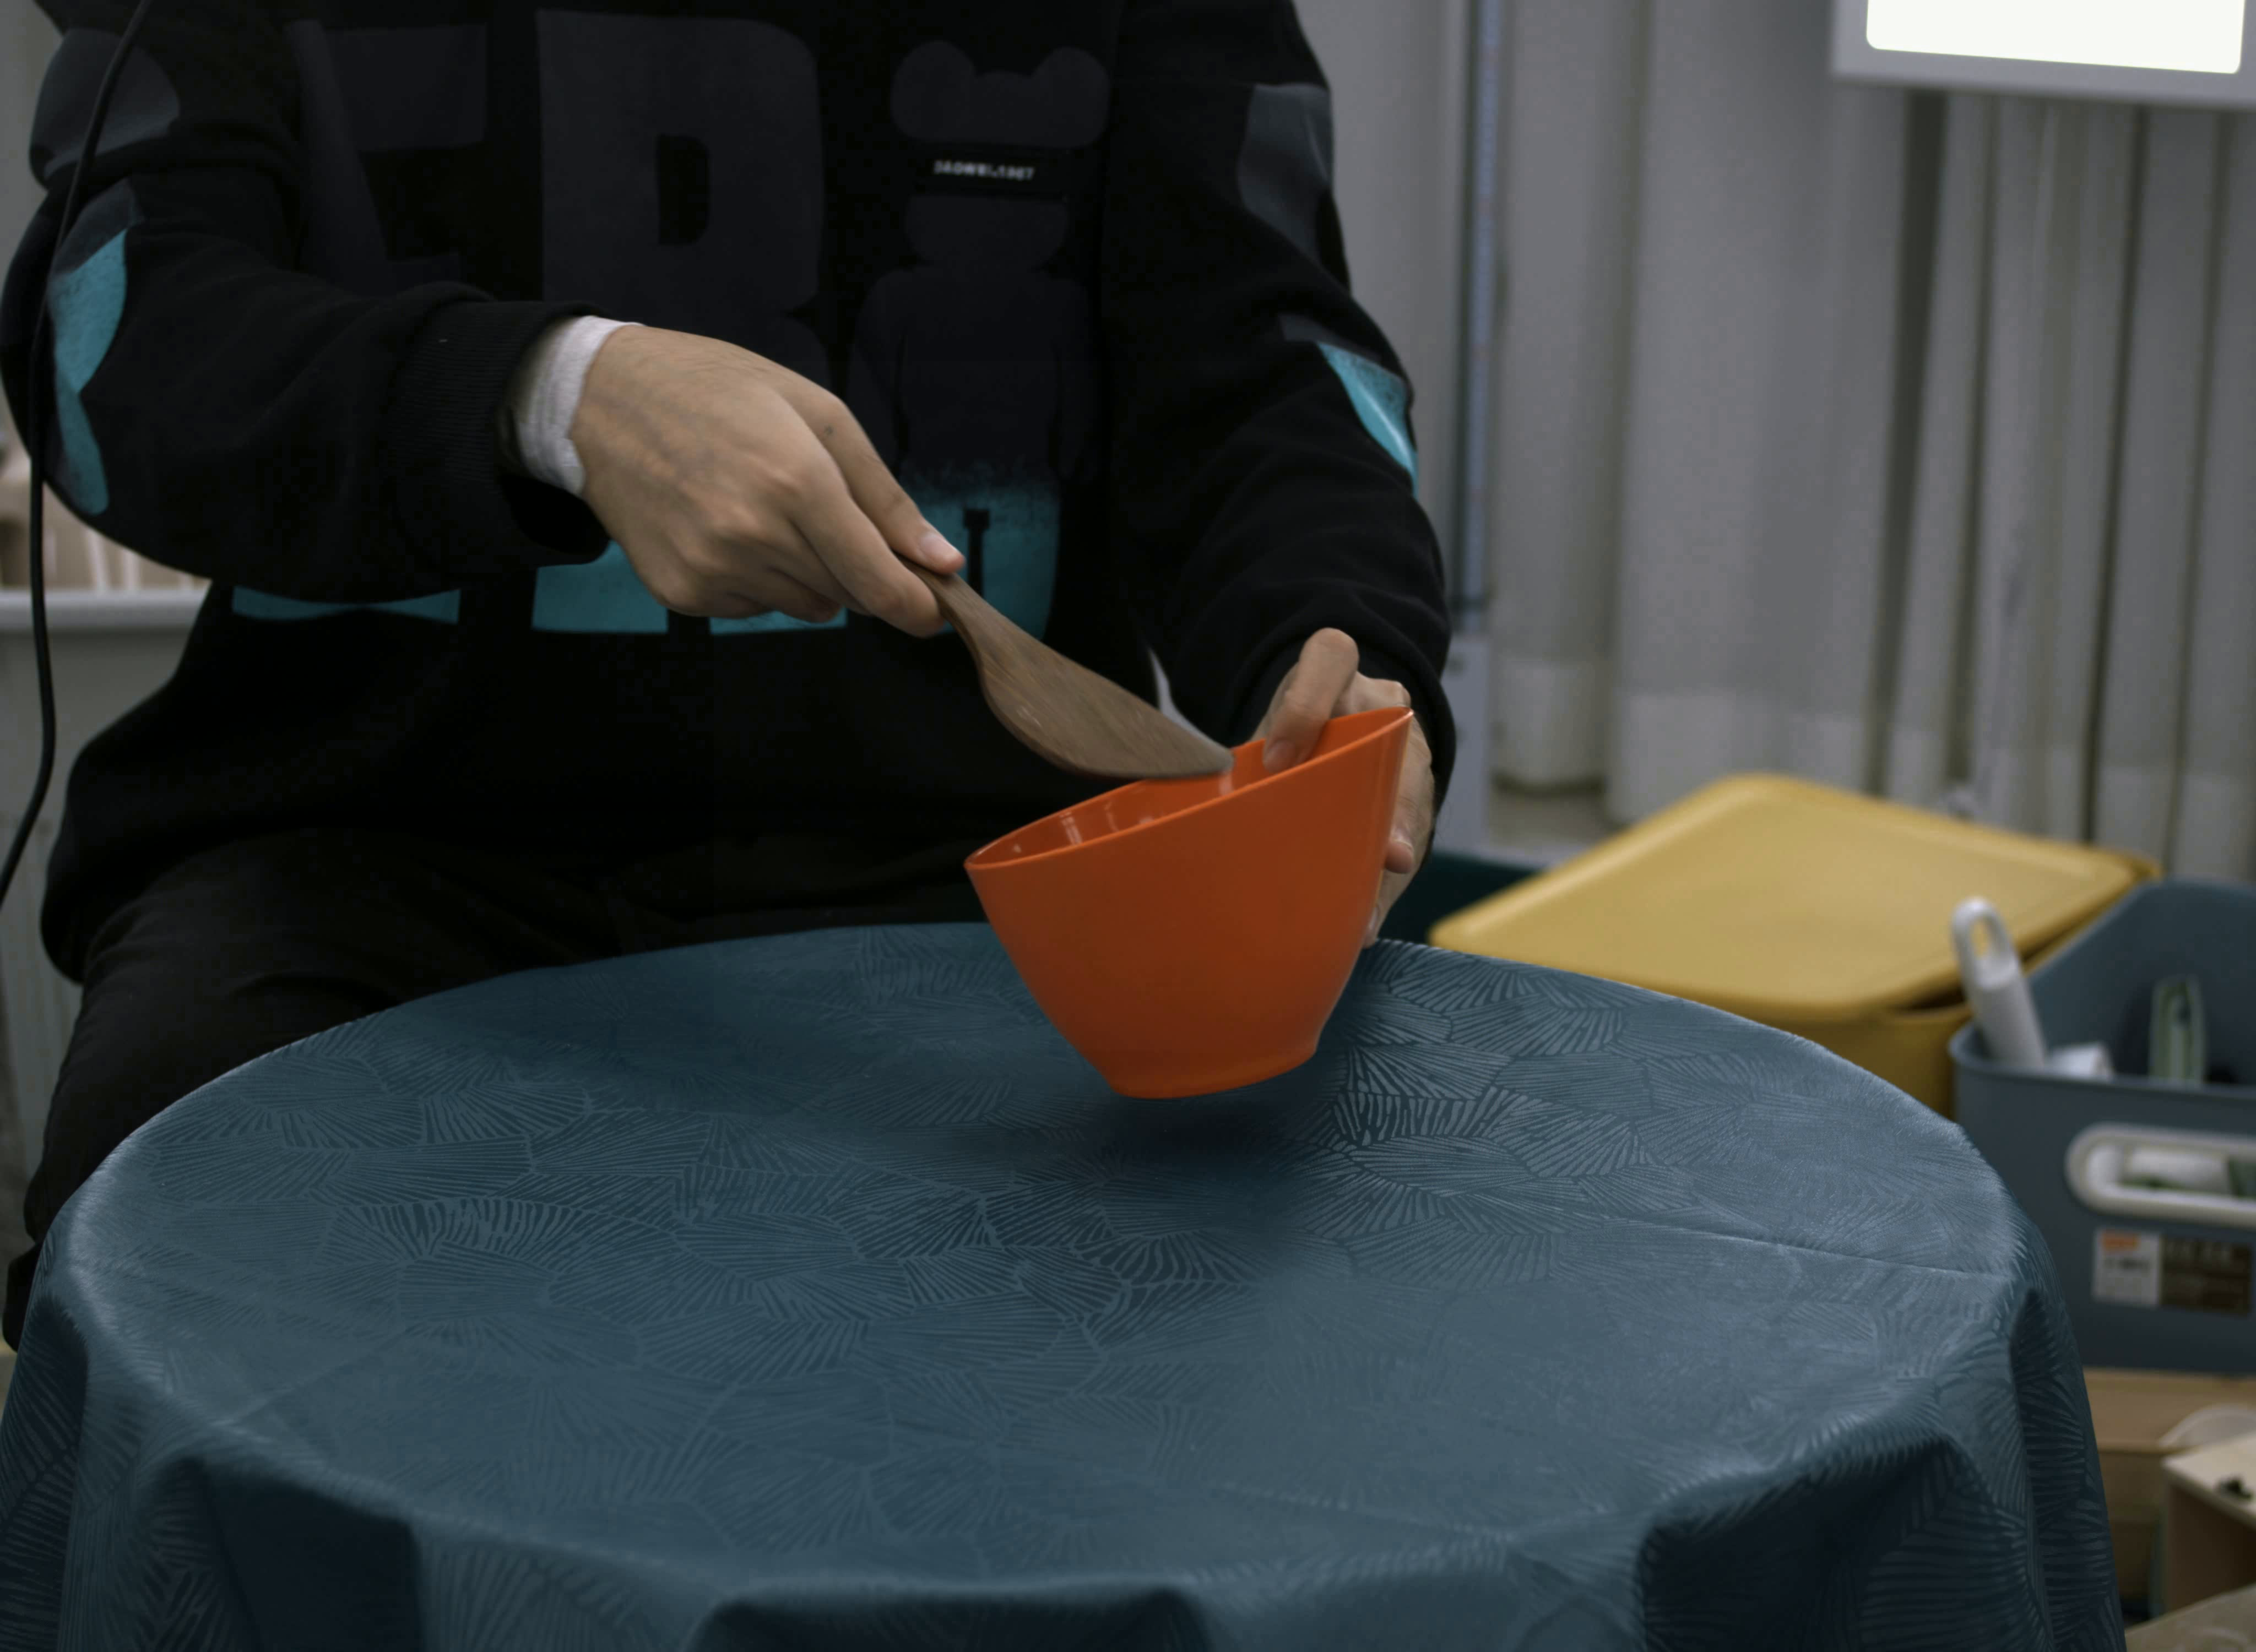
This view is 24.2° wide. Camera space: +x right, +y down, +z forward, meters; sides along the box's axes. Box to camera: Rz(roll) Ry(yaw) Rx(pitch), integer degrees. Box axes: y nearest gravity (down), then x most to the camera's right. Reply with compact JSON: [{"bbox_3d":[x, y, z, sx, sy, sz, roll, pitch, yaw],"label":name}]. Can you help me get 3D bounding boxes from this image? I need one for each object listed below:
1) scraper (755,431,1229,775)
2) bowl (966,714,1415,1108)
[{"bbox_3d":[-0.053,-0.072,1.682,0.076,0.011,0.208,-1,35,-46],"label":"scraper"},{"bbox_3d":[0.027,0.029,1.653,0.147,0.105,0.147,-11,12,3],"label":"bowl"}]
